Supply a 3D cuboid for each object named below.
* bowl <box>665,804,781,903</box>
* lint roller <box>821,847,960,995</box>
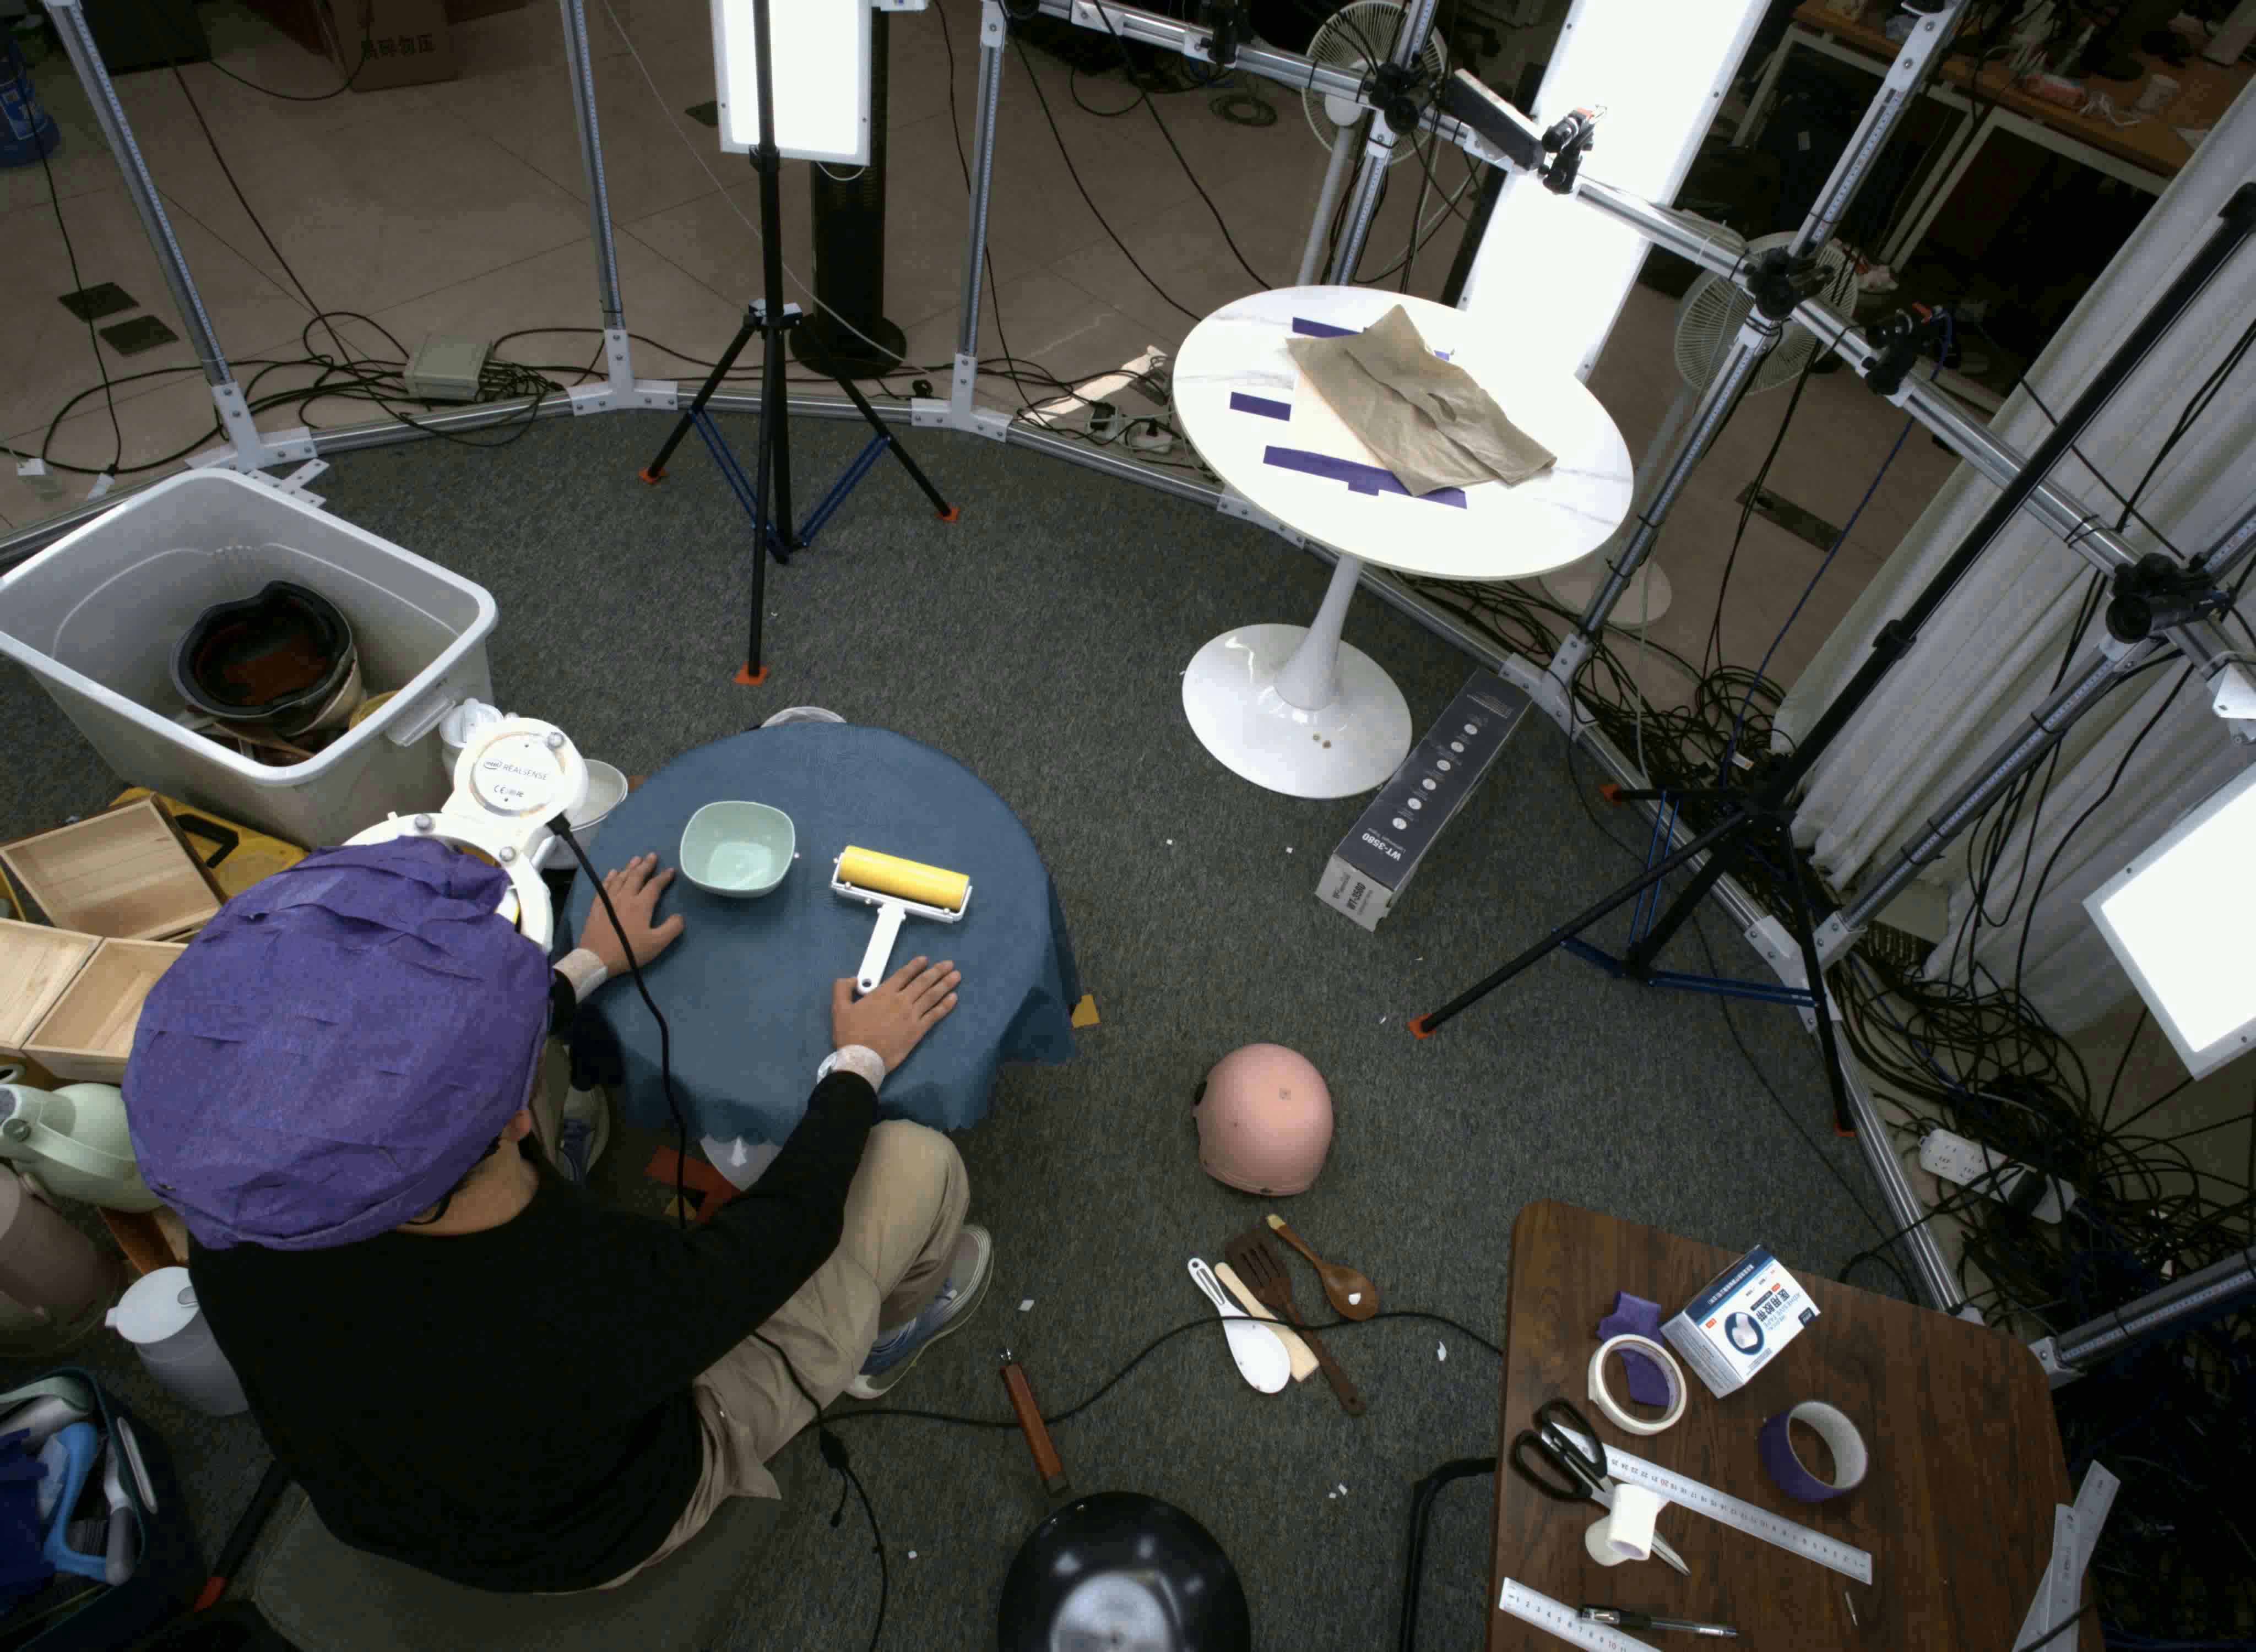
[{"bbox_3d":[-0.508,0.043,1.628,0.151,0.060,0.148,9,50,-9],"label":"bowl"},{"bbox_3d":[-0.311,0.118,1.626,0.173,0.052,0.189,13,47,-4],"label":"lint roller"}]
